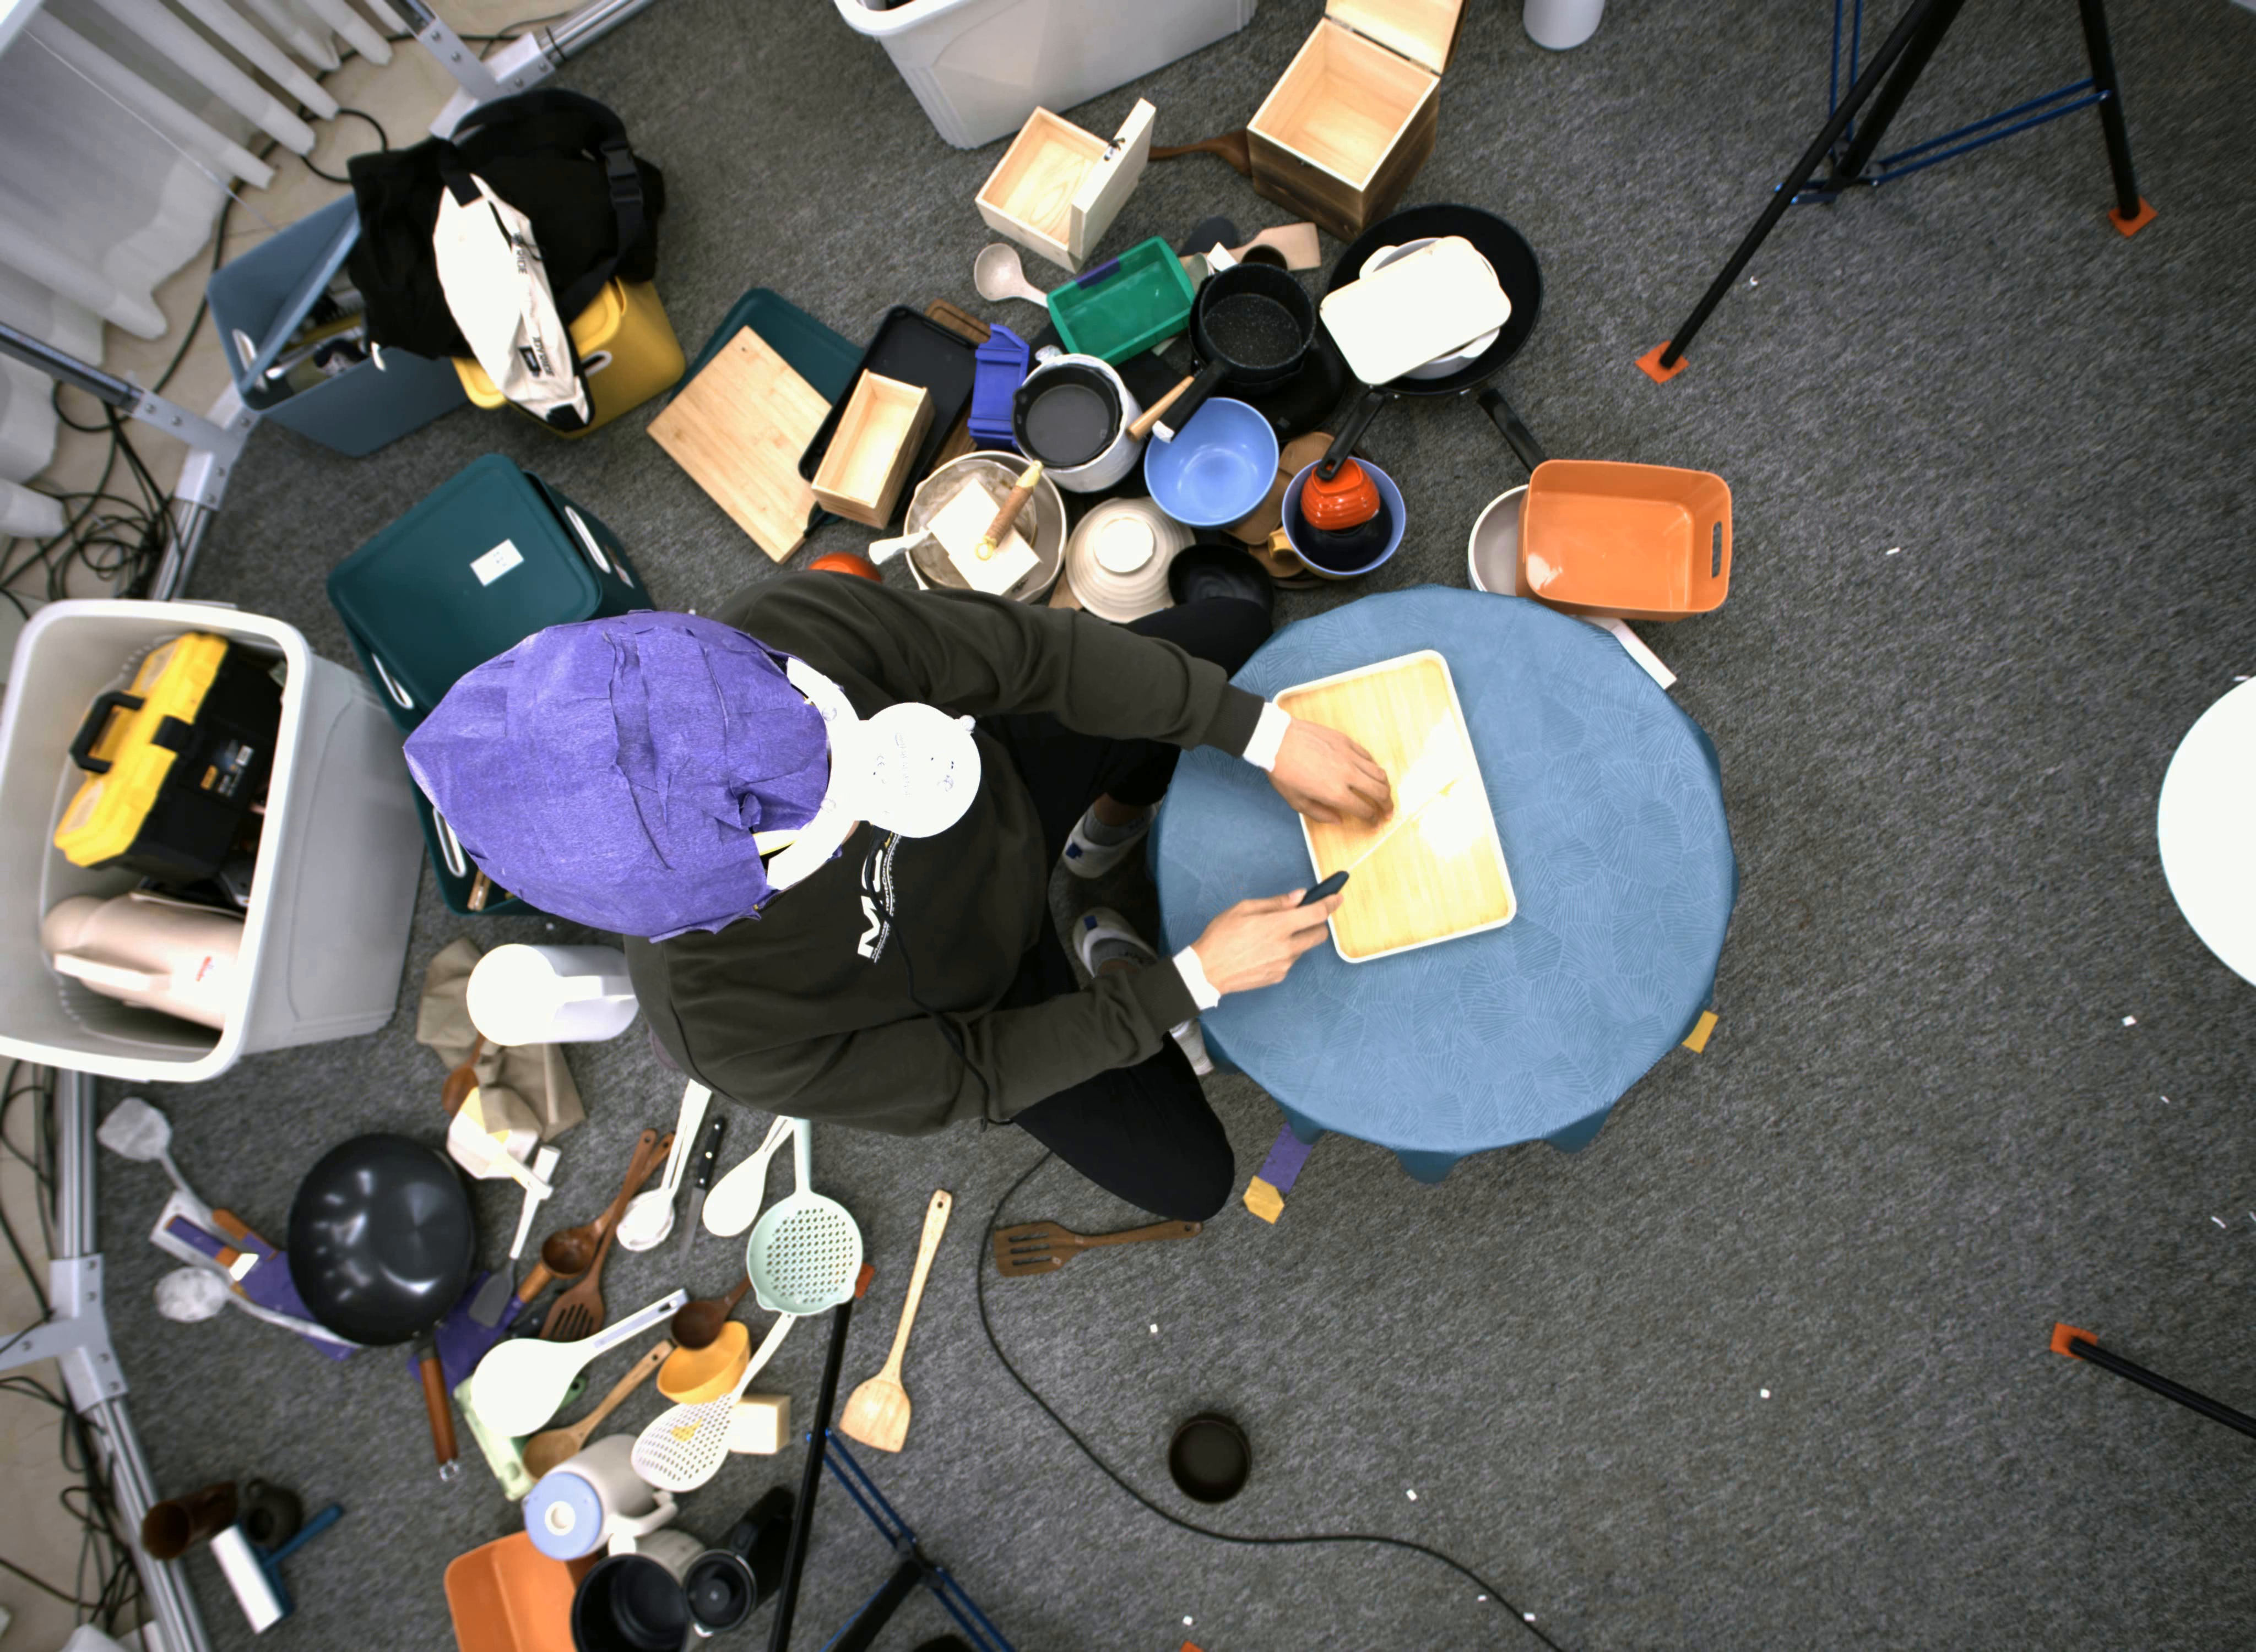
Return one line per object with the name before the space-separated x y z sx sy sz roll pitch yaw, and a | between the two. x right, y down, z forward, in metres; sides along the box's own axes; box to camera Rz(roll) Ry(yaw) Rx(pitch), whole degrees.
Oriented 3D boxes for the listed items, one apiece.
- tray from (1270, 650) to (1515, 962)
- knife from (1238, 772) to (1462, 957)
tray | 0.276 -0.022 1.451 0.193 0.027 0.298 -15 84 11
knife | 0.228 0.036 1.401 0.290 0.081 0.027 -40 78 4
